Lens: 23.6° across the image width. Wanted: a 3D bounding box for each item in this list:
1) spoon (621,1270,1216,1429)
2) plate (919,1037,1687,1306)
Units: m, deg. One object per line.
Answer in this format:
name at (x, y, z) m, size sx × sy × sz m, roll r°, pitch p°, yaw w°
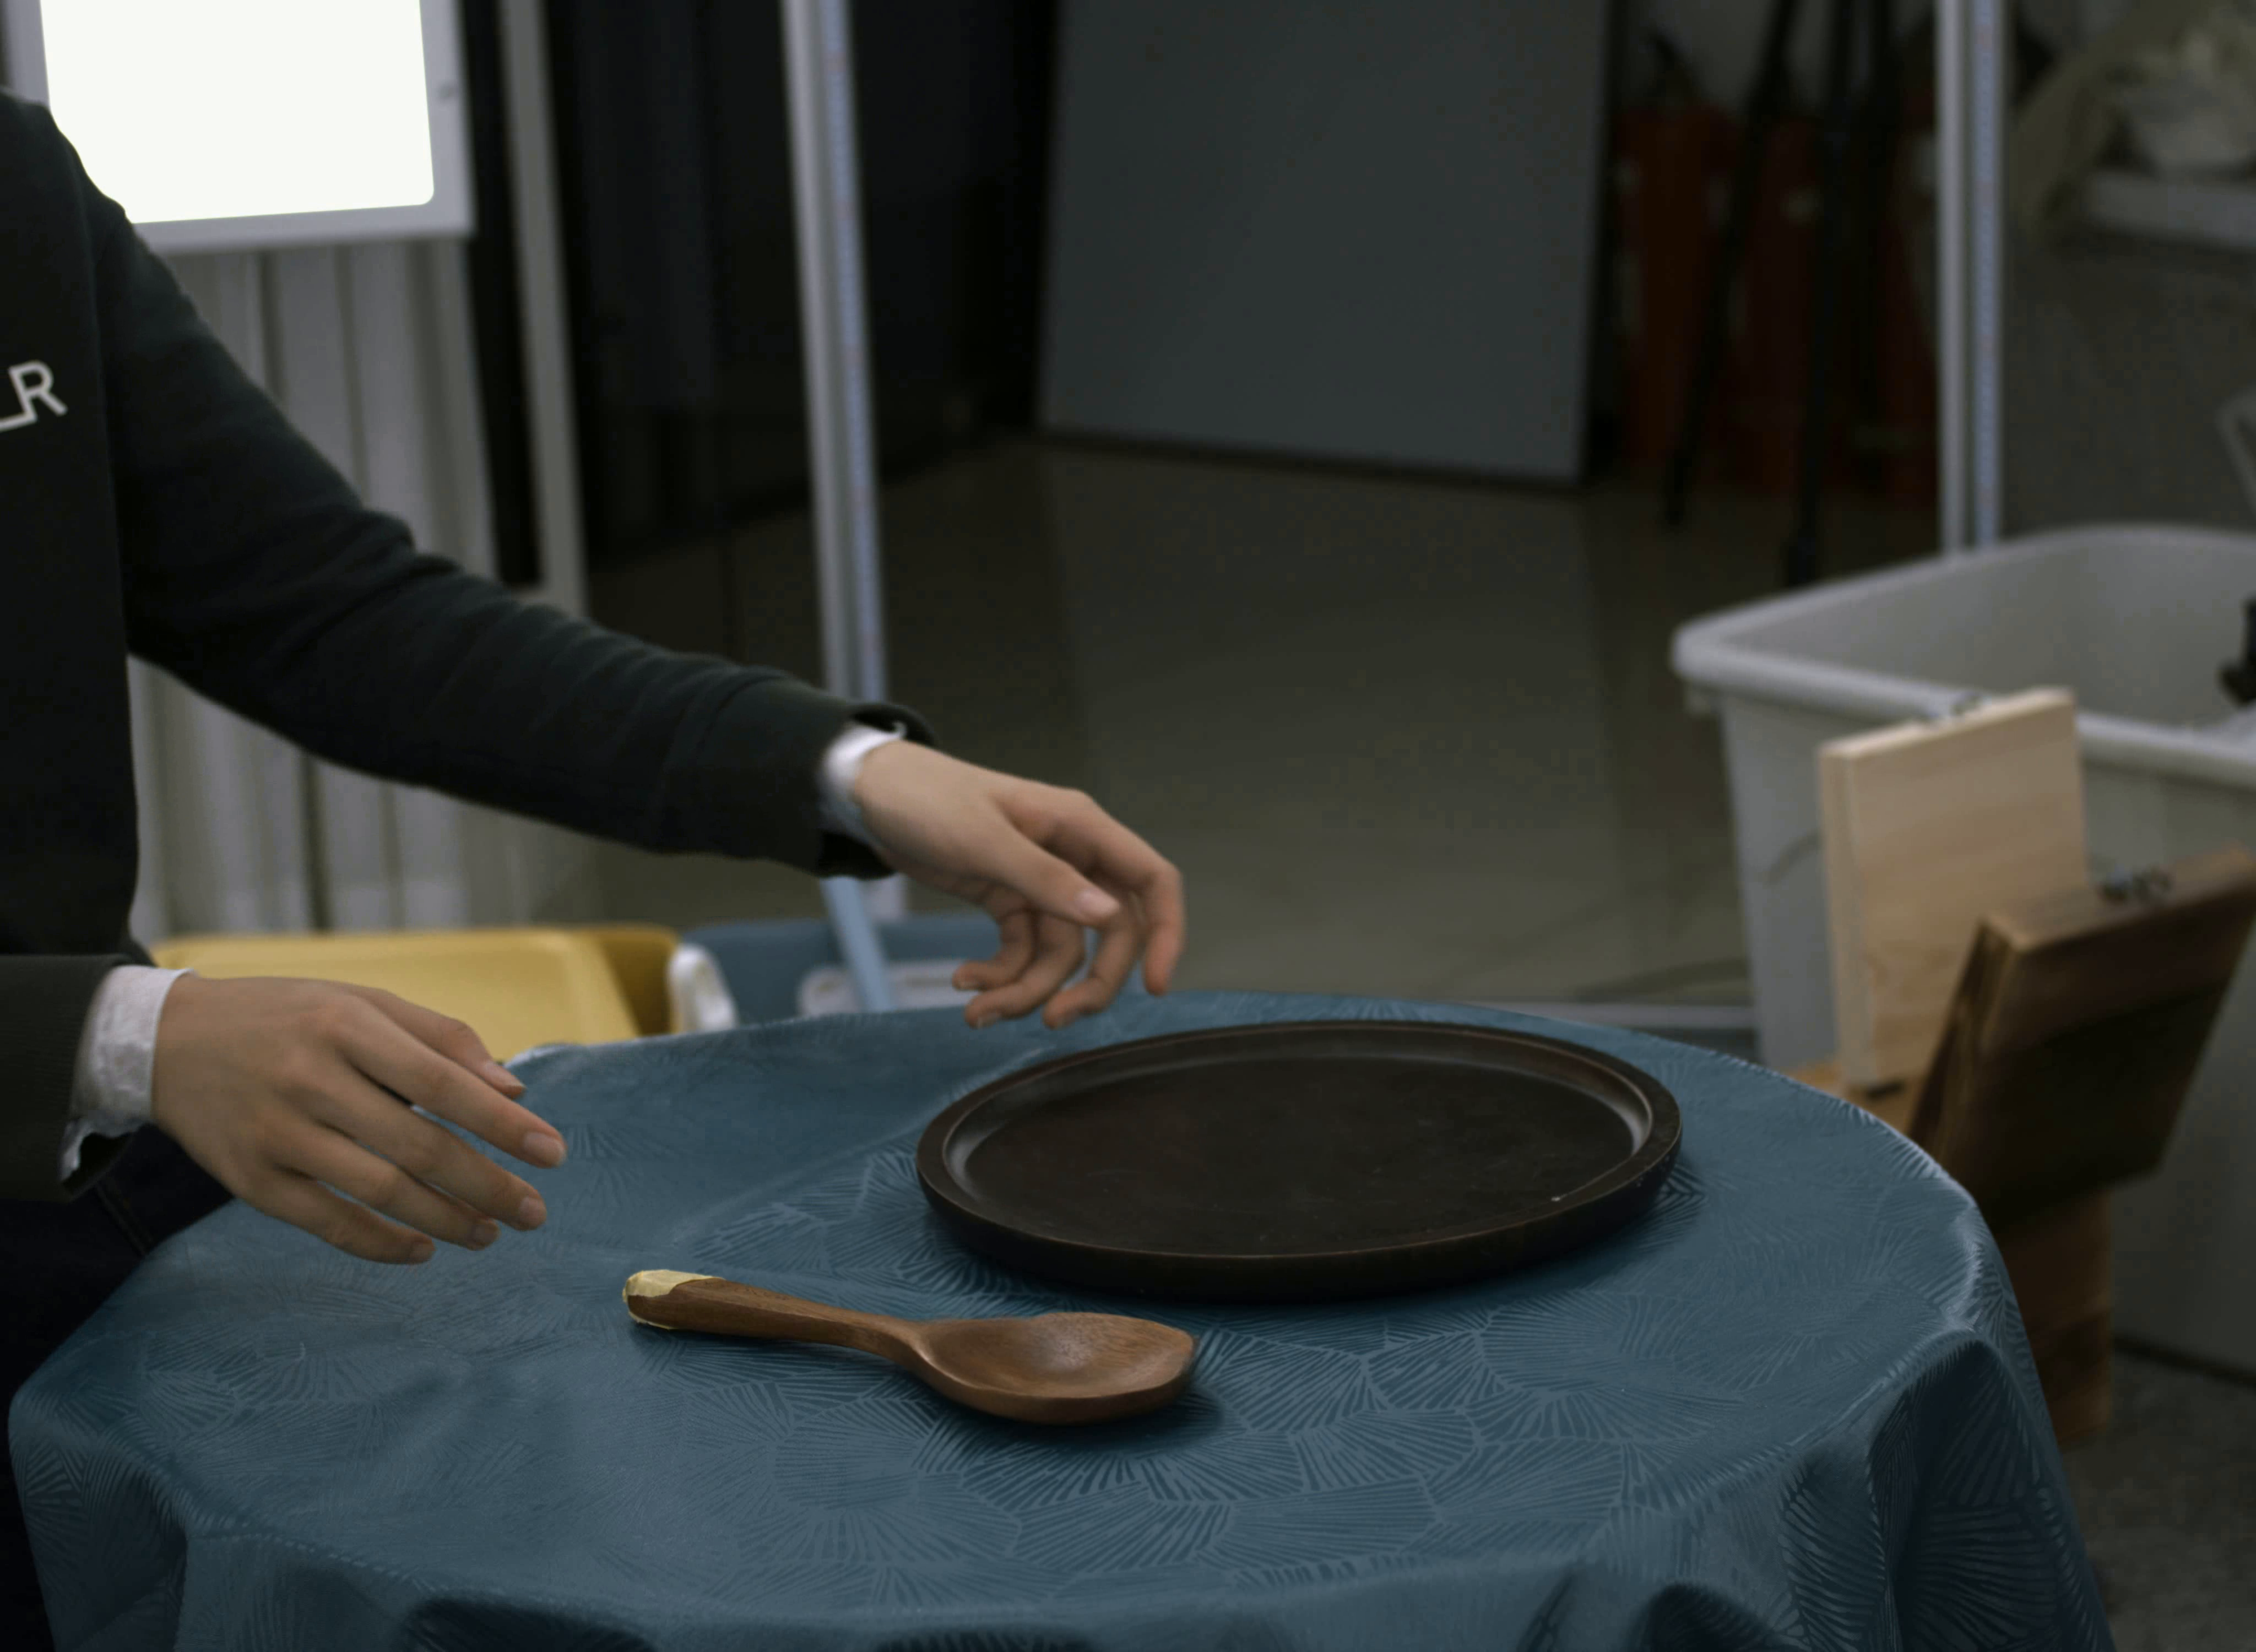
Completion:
spoon at (-0.067, 0.155, 1.617) m, size 0.217 × 0.017 × 0.074 m, roll 7°, pitch 18°, yaw 37°
plate at (0.057, 0.110, 1.756) m, size 0.251 × 0.029 × 0.255 m, roll -3°, pitch 14°, yaw 0°
